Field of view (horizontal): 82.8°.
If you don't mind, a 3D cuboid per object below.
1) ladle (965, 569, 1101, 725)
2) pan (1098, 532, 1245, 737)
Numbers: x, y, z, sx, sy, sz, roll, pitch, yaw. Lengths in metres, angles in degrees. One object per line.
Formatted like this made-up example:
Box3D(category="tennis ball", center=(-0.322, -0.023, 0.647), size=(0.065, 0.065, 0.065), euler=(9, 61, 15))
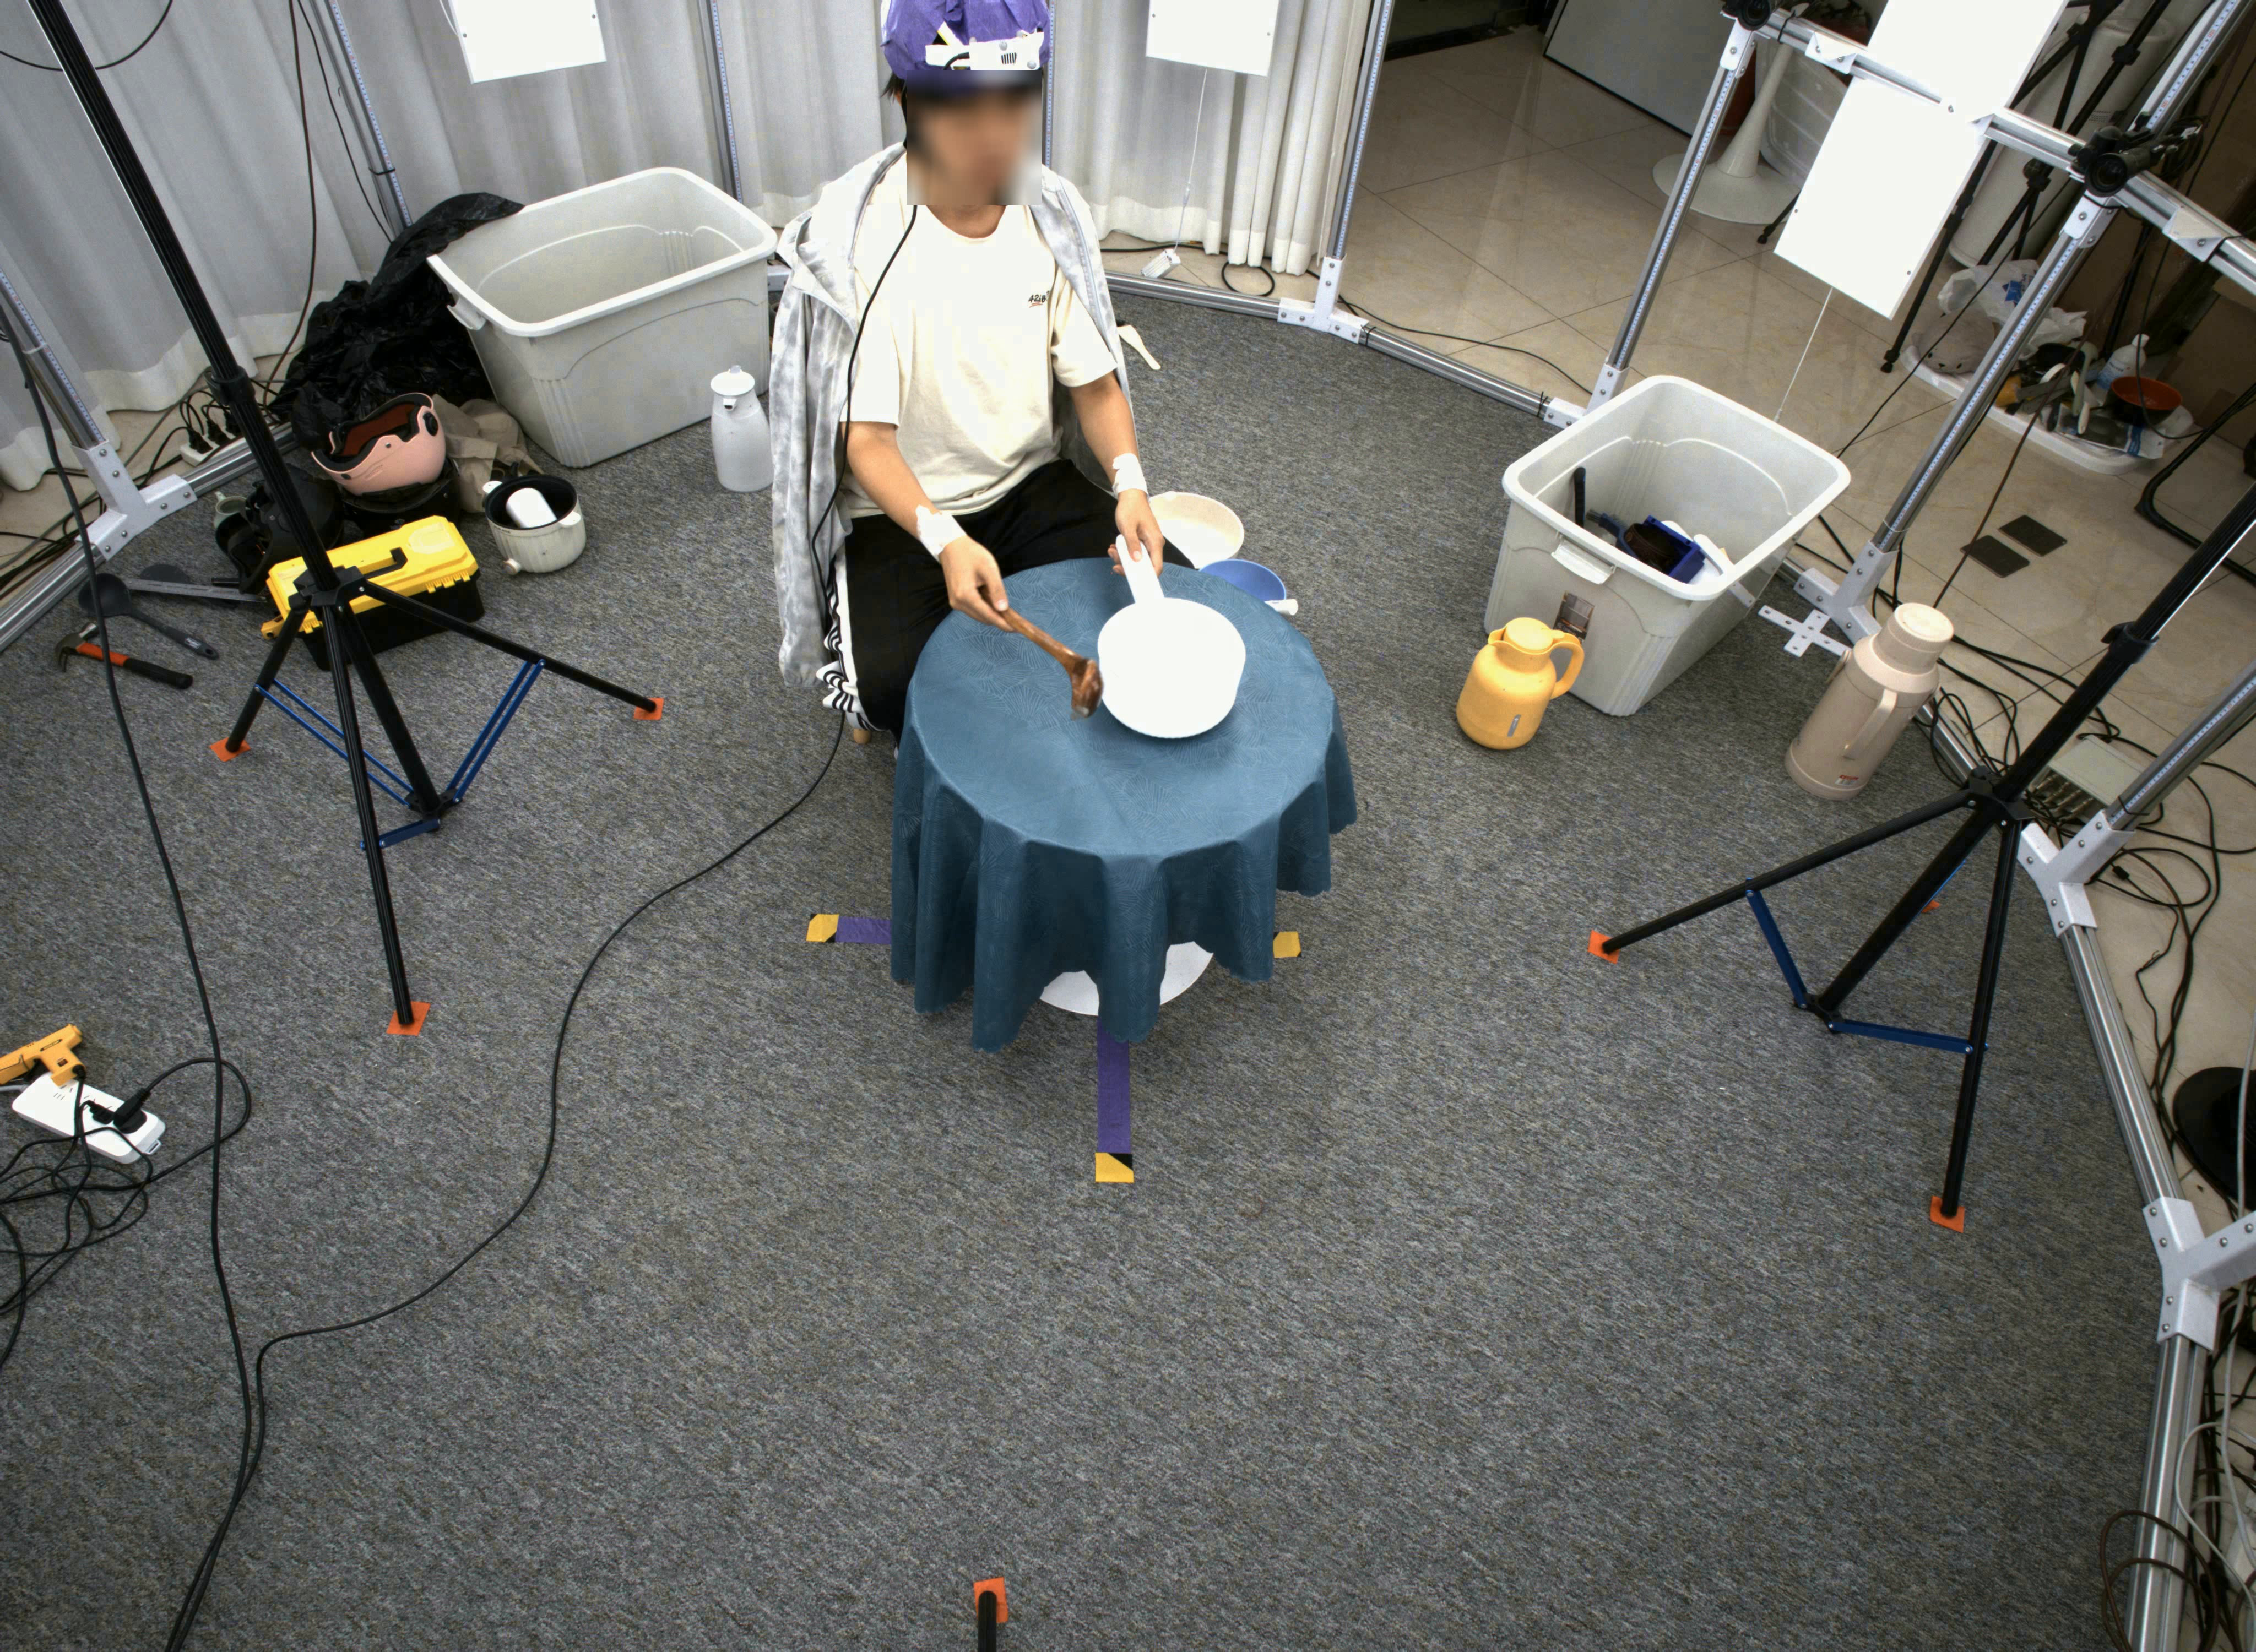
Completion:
Box3D(category="ladle", center=(-0.136, -0.234, 1.655), size=(0.277, 0.080, 0.077), euler=(41, 42, 19))
Box3D(category="pan", center=(0.041, -0.274, 1.838), size=(0.201, 0.099, 0.364), euler=(-8, 49, -10))
